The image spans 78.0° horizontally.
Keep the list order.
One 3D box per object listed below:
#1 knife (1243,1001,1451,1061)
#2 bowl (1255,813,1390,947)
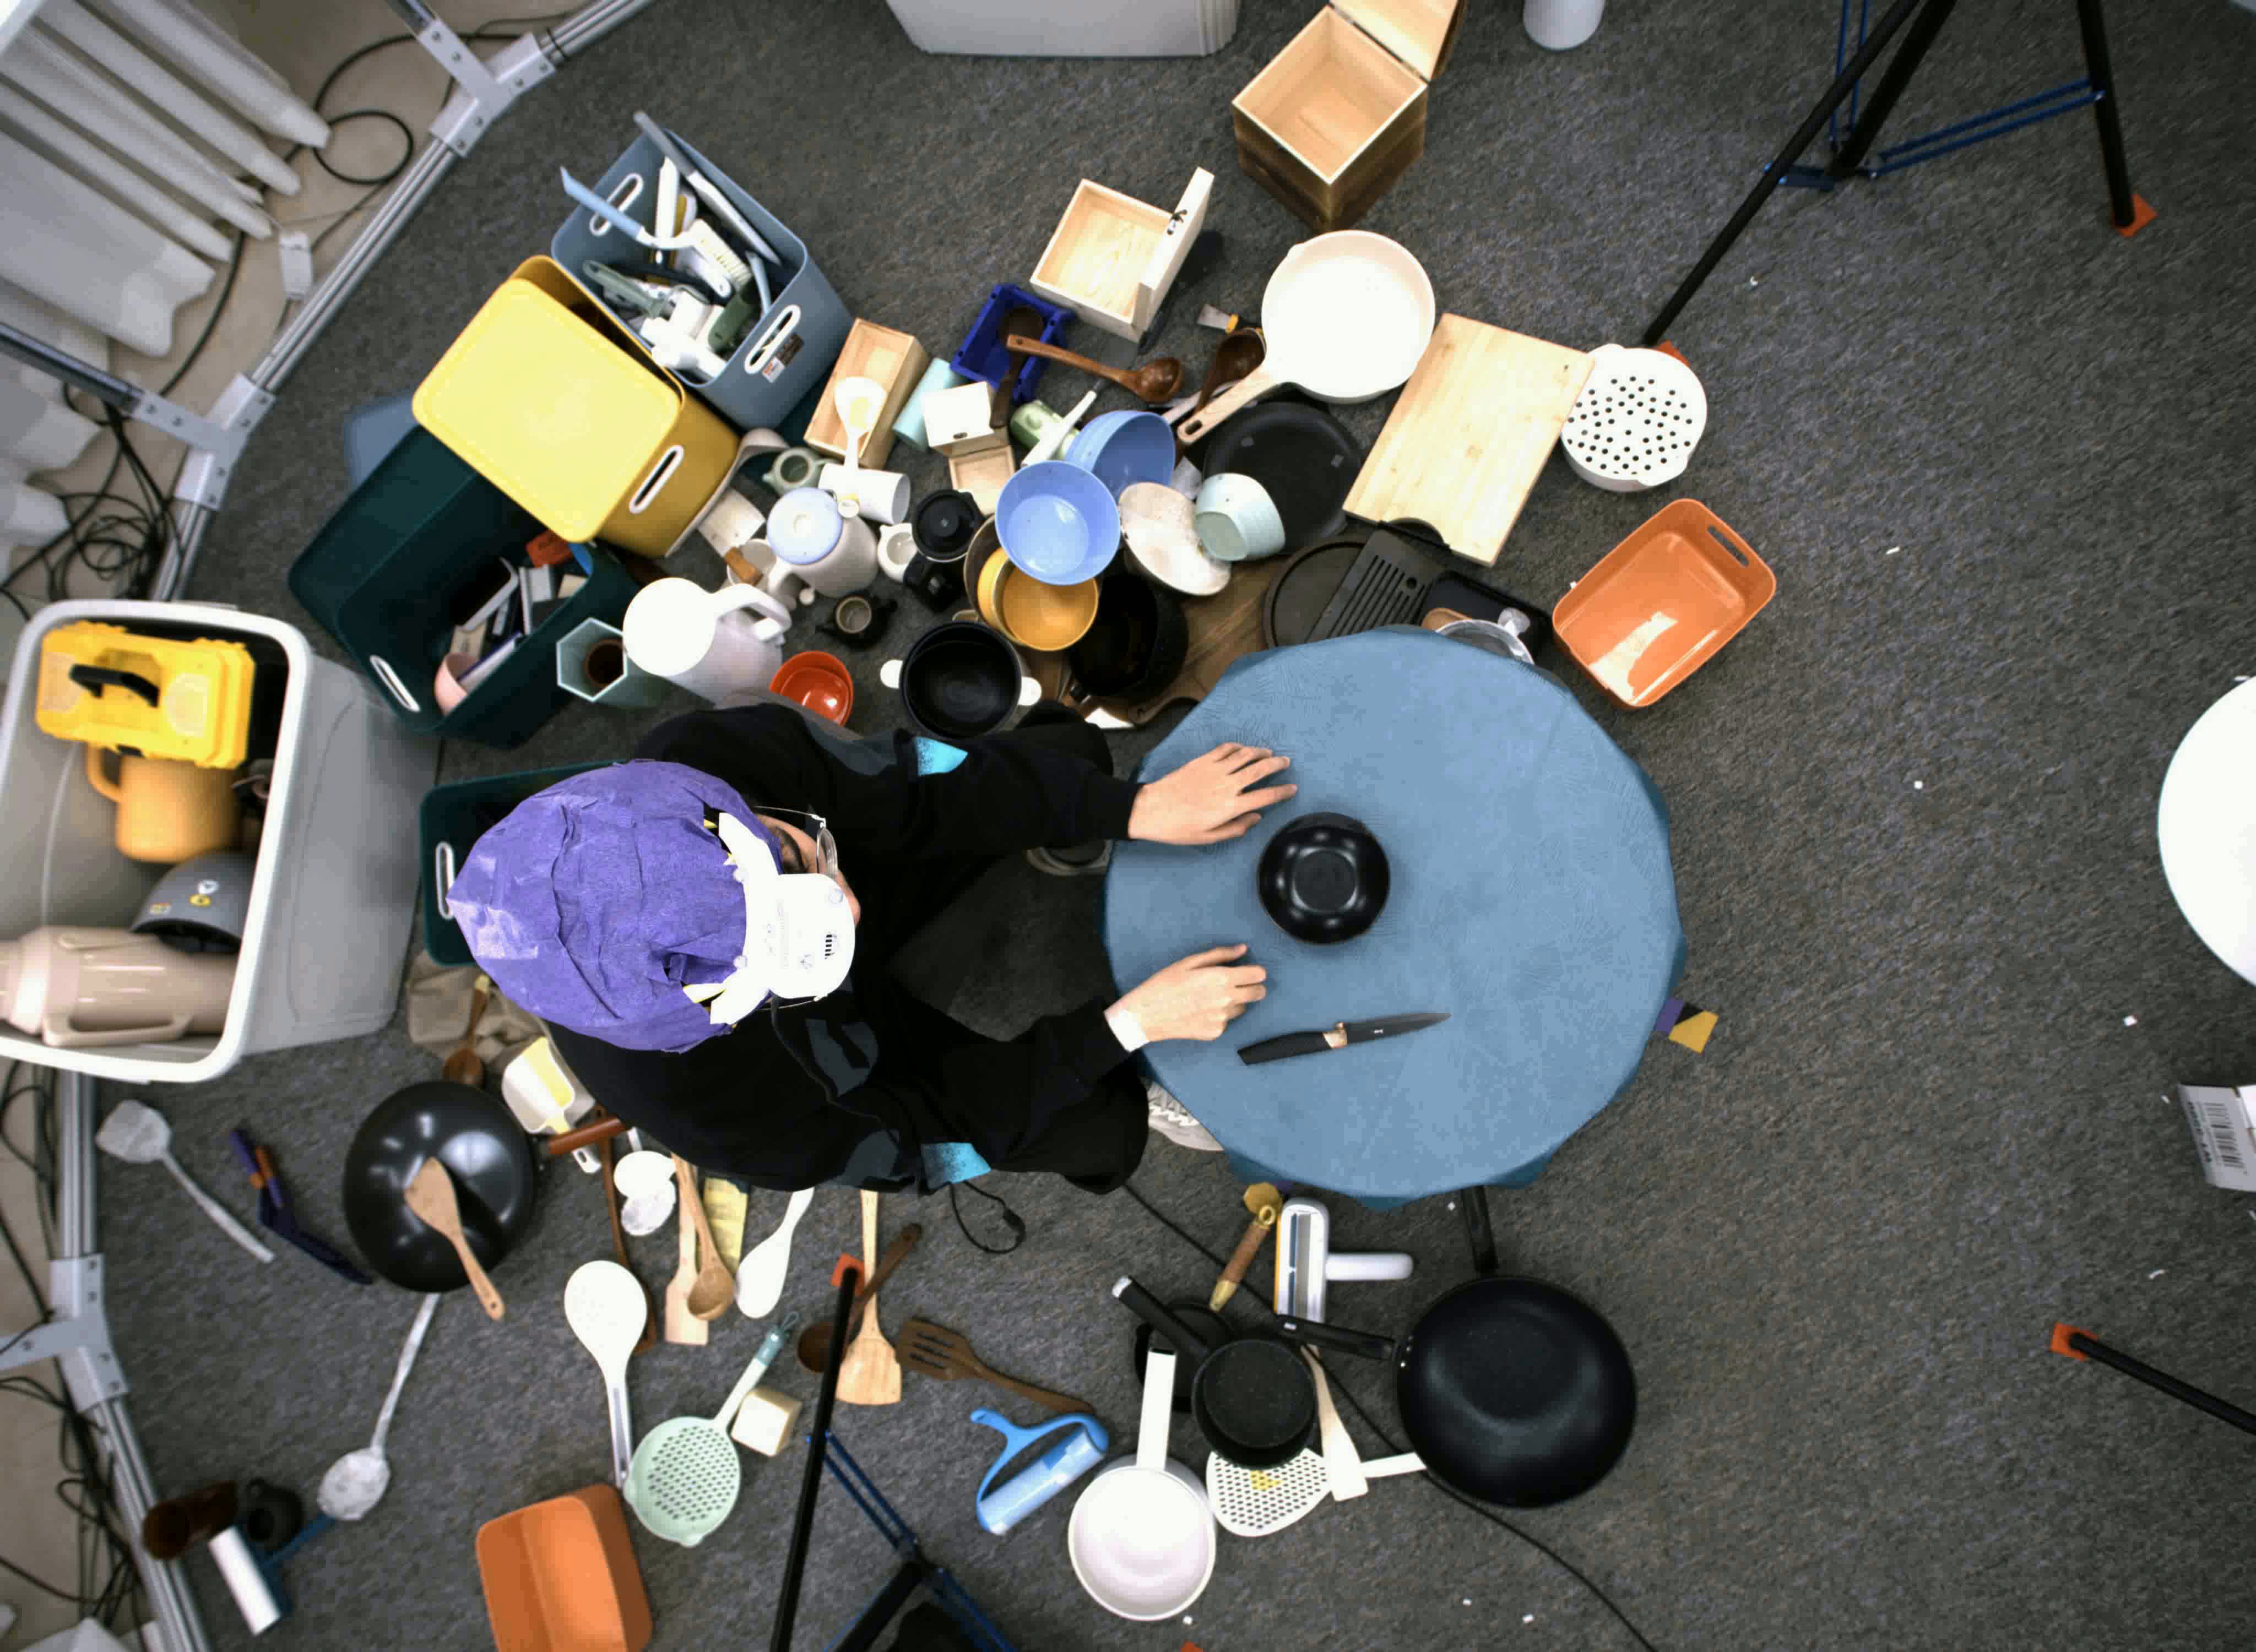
[{"bbox_3d":[0.230,0.214,1.454,0.226,0.017,0.026,-13,81,8],"label":"knife"},{"bbox_3d":[0.205,0.056,1.451,0.141,0.049,0.139,-1,89,14],"label":"bowl"}]
